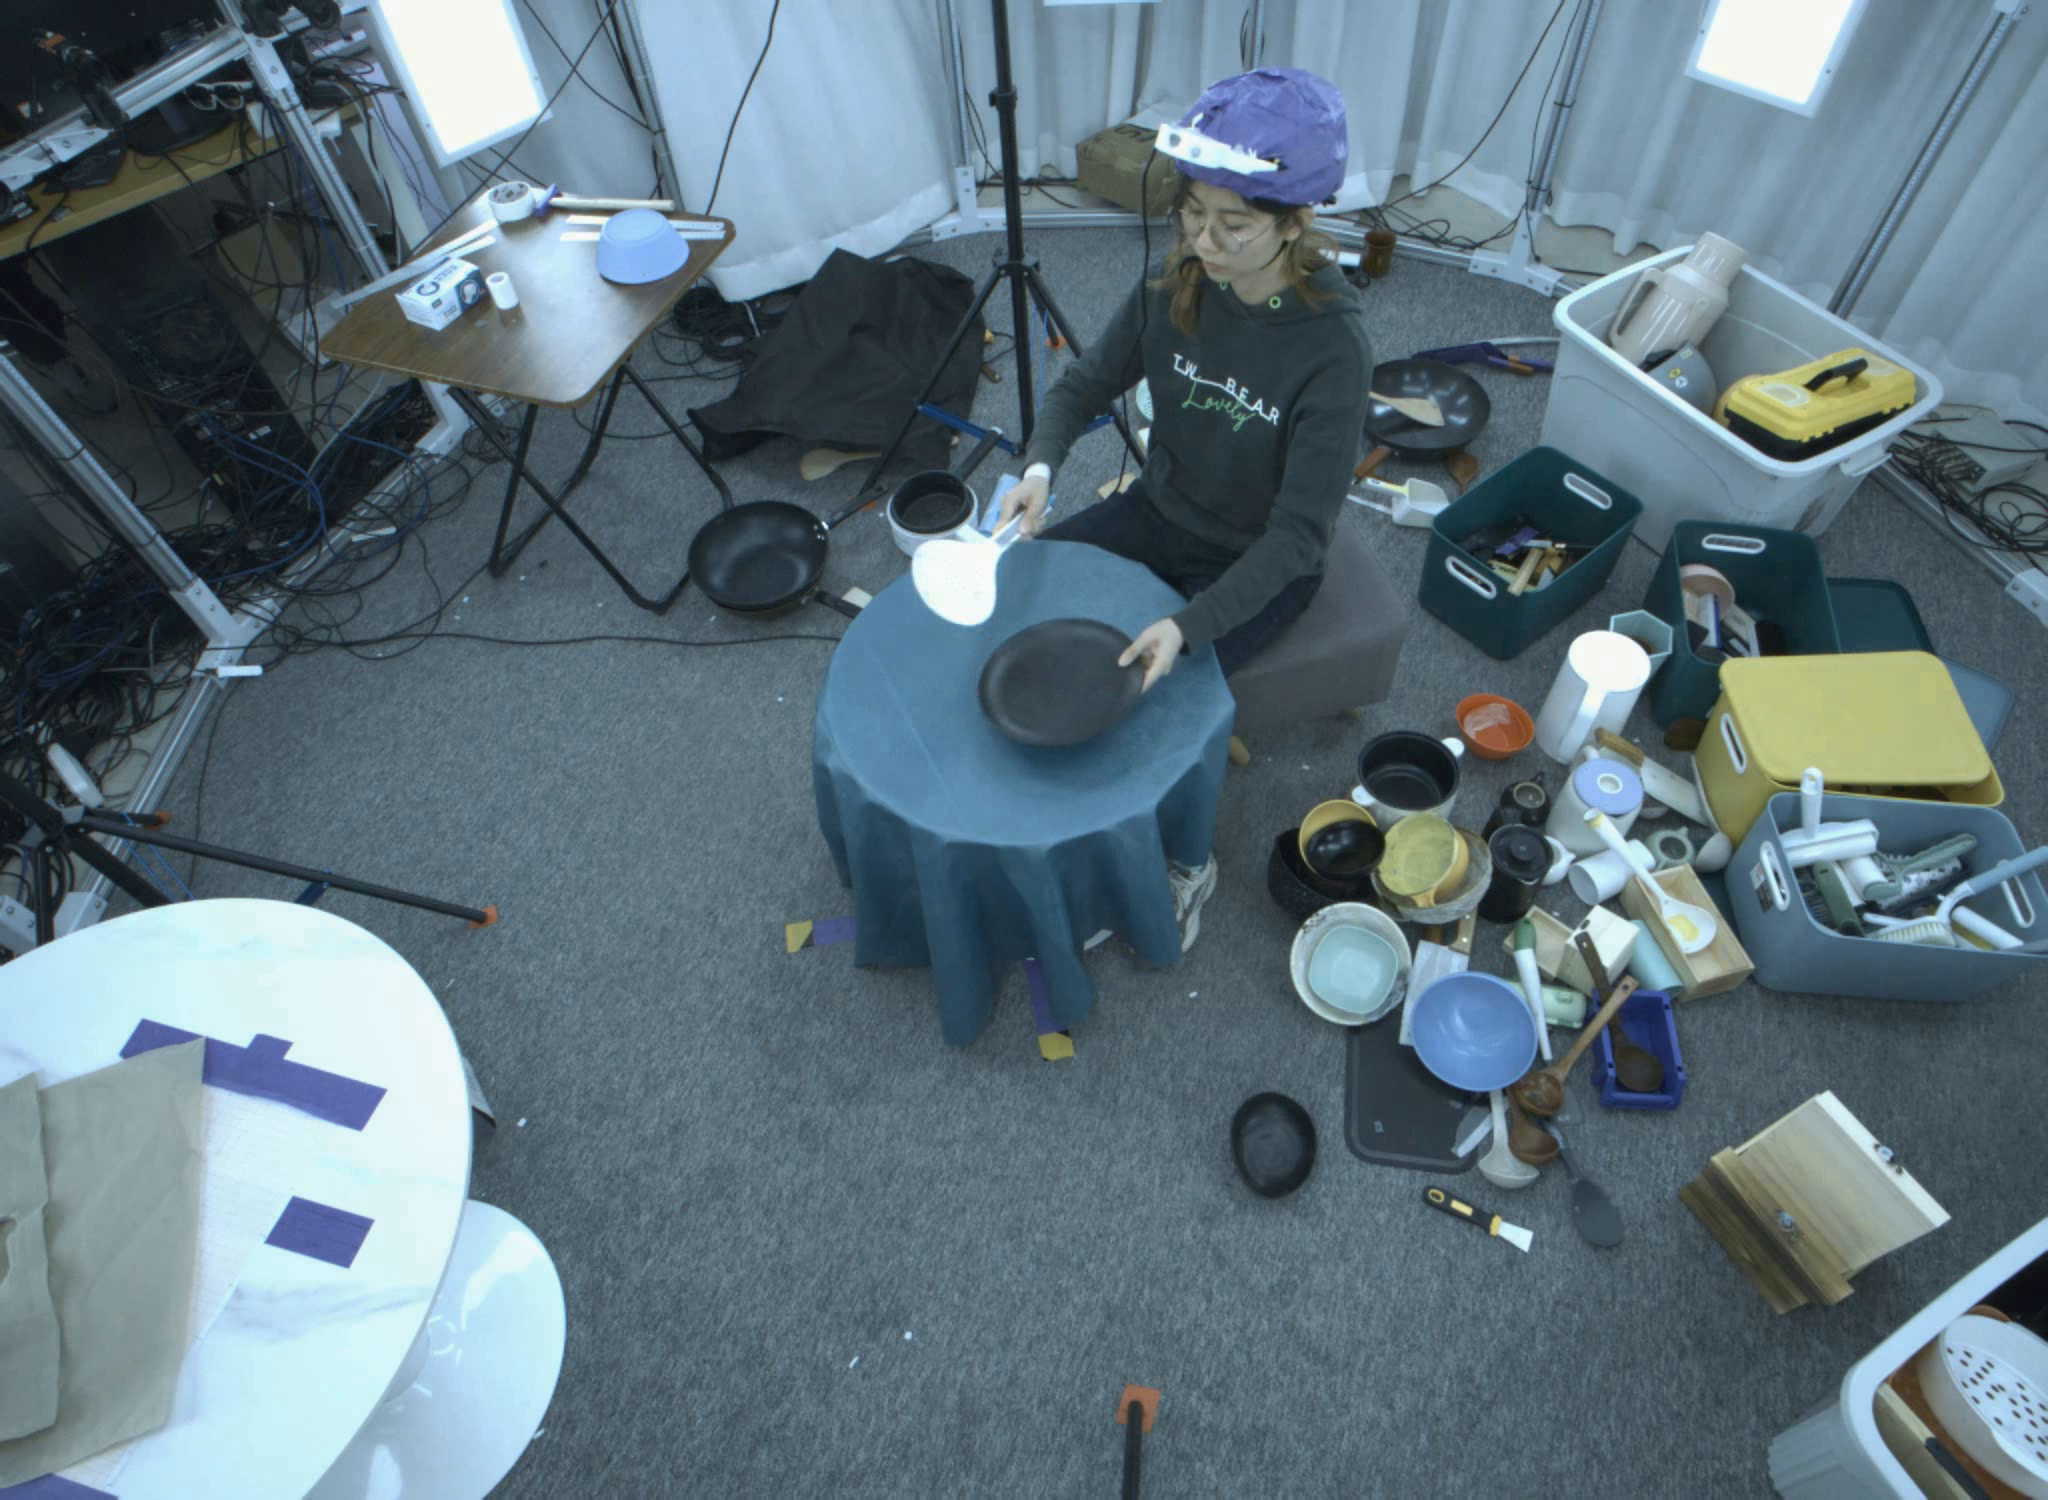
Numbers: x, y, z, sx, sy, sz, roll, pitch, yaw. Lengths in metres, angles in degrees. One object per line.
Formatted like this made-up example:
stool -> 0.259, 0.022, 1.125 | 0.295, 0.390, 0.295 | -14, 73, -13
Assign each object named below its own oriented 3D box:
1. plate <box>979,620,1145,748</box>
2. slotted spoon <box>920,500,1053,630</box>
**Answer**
plate -> 0.056, -0.093, 1.786 | 0.243, 0.024, 0.242 | -4, 53, 7
slotted spoon -> -0.046, -0.288, 1.806 | 0.137, 0.045, 0.351 | 51, 49, -12
